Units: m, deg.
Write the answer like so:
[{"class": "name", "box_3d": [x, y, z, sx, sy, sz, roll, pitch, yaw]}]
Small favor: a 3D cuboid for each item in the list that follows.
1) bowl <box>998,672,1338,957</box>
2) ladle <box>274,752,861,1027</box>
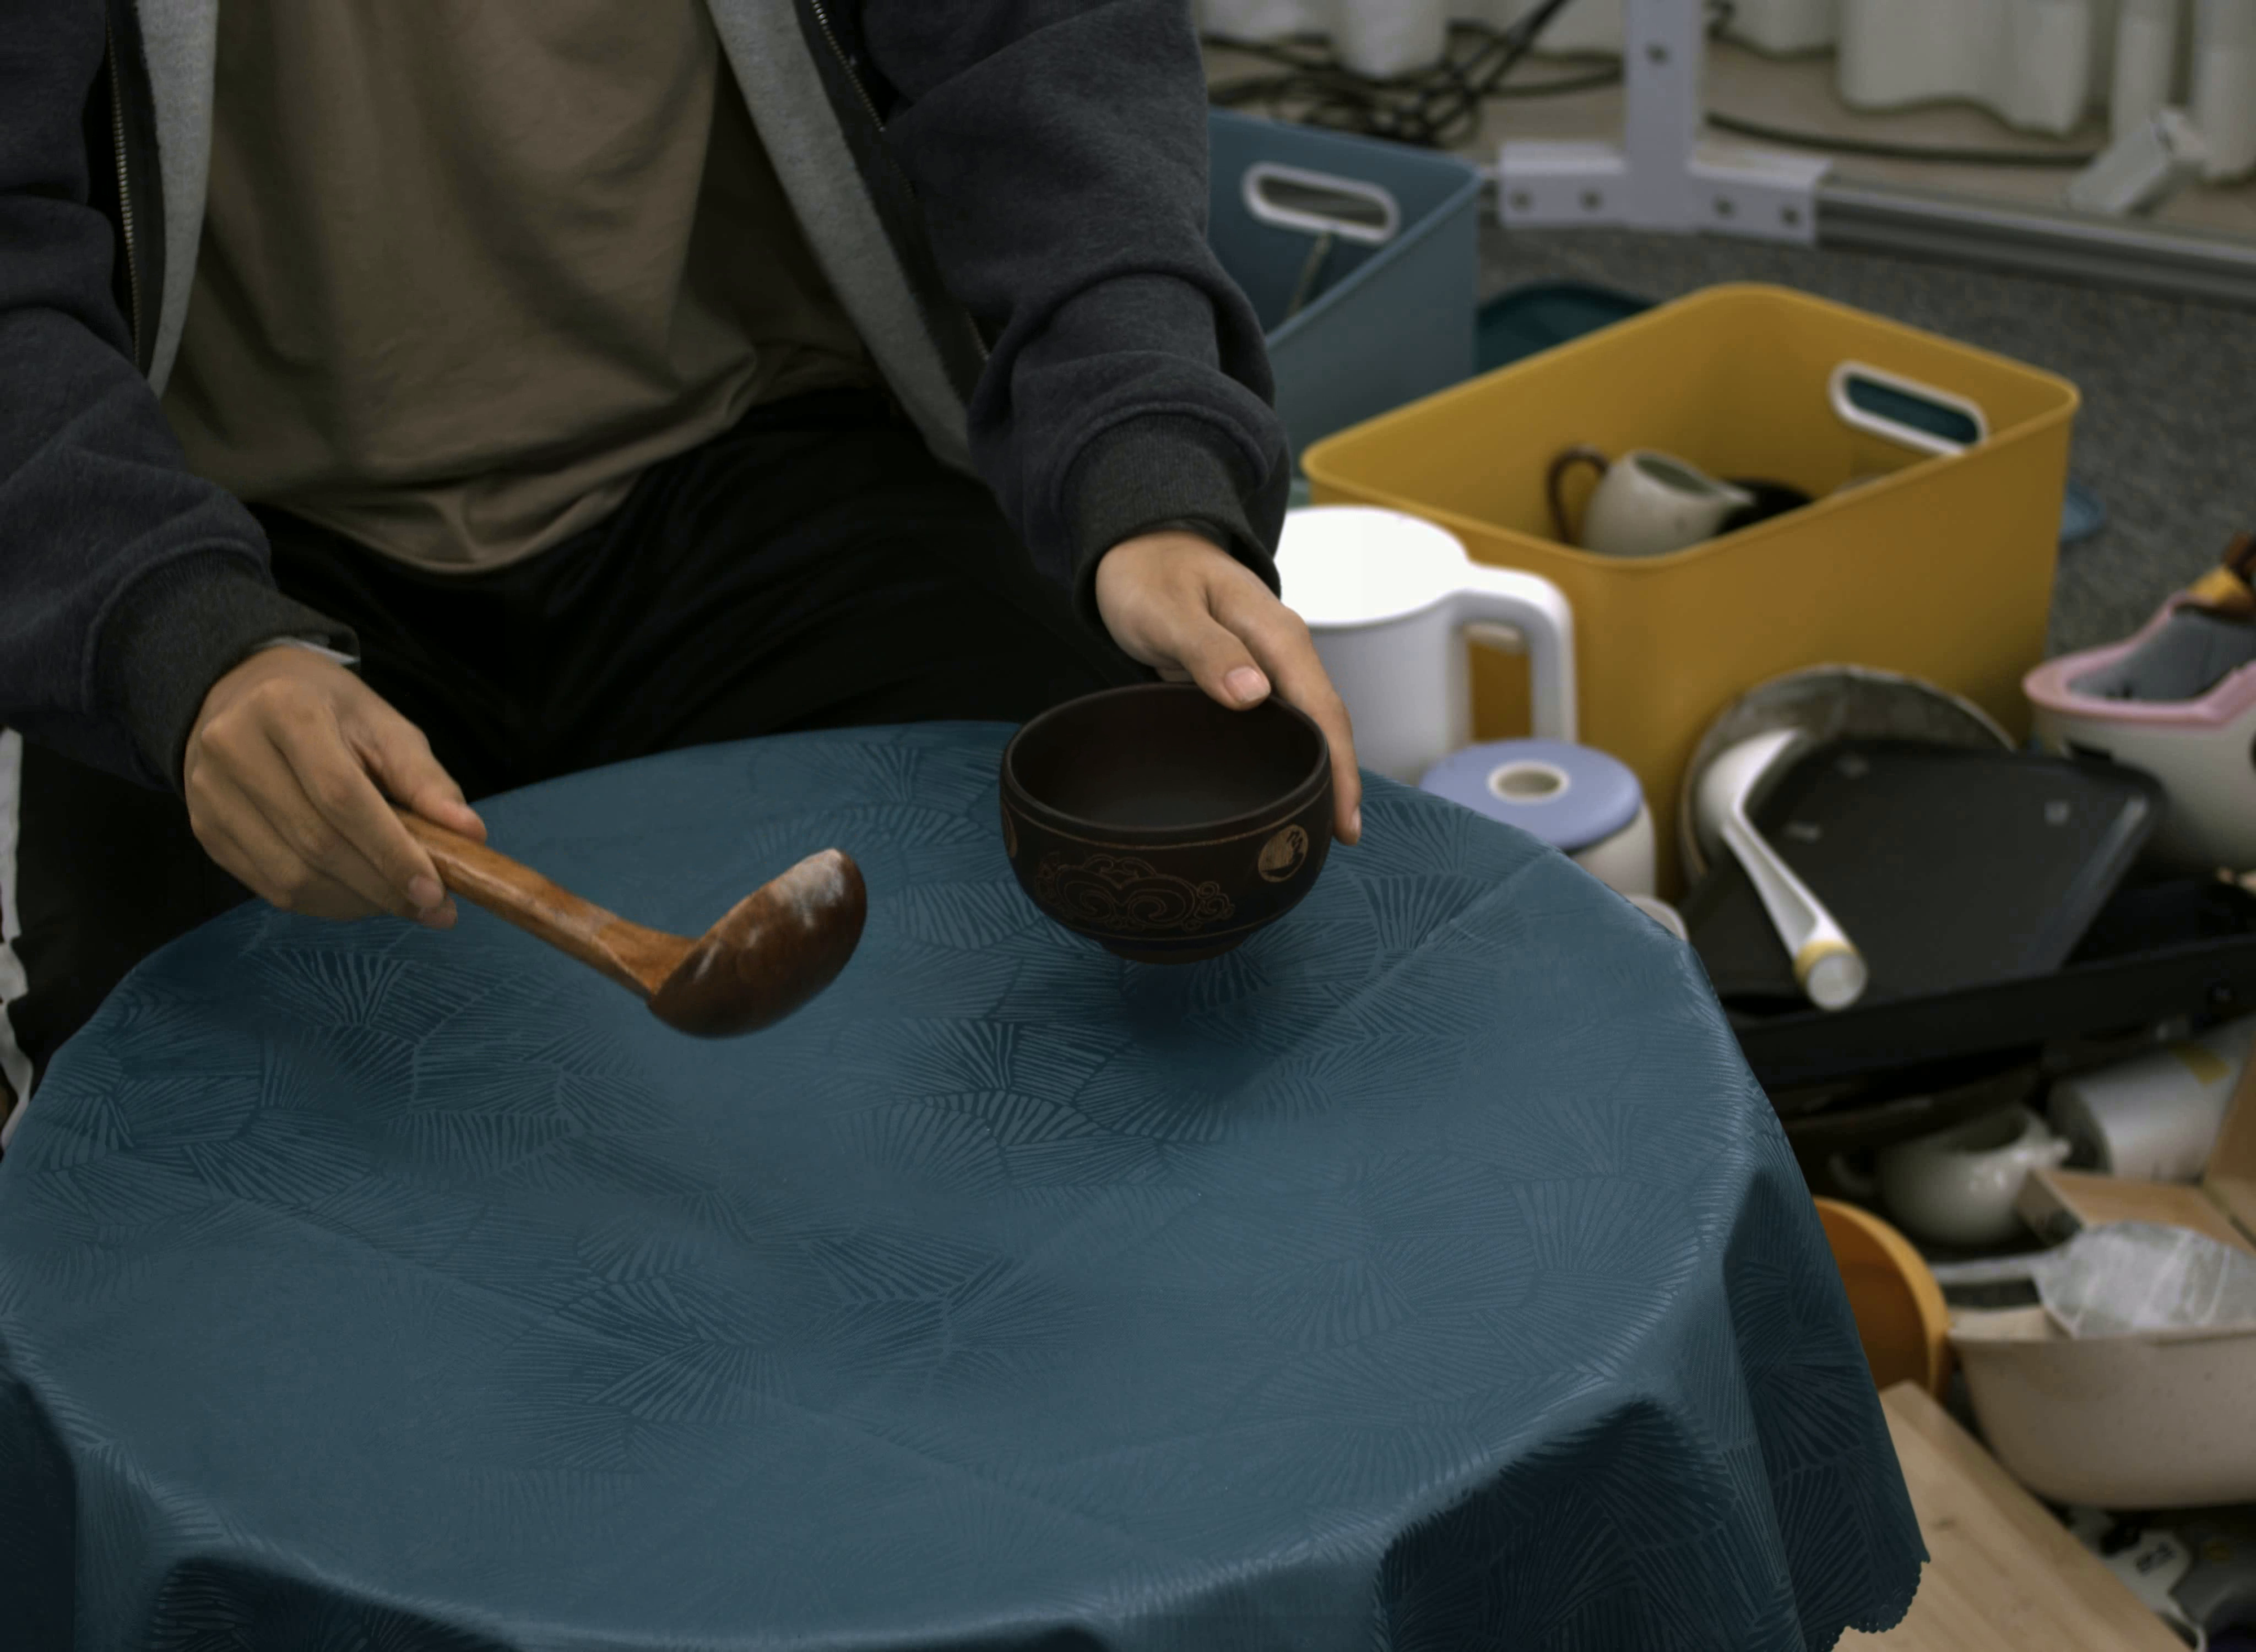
[{"class": "bowl", "box_3d": [0.015, 0.002, 1.953, 0.117, 0.069, 0.120, -3, 27, 2]}, {"class": "ladle", "box_3d": [-0.197, 0.000, 1.862, 0.274, 0.076, 0.083, 24, 38, 38]}]
